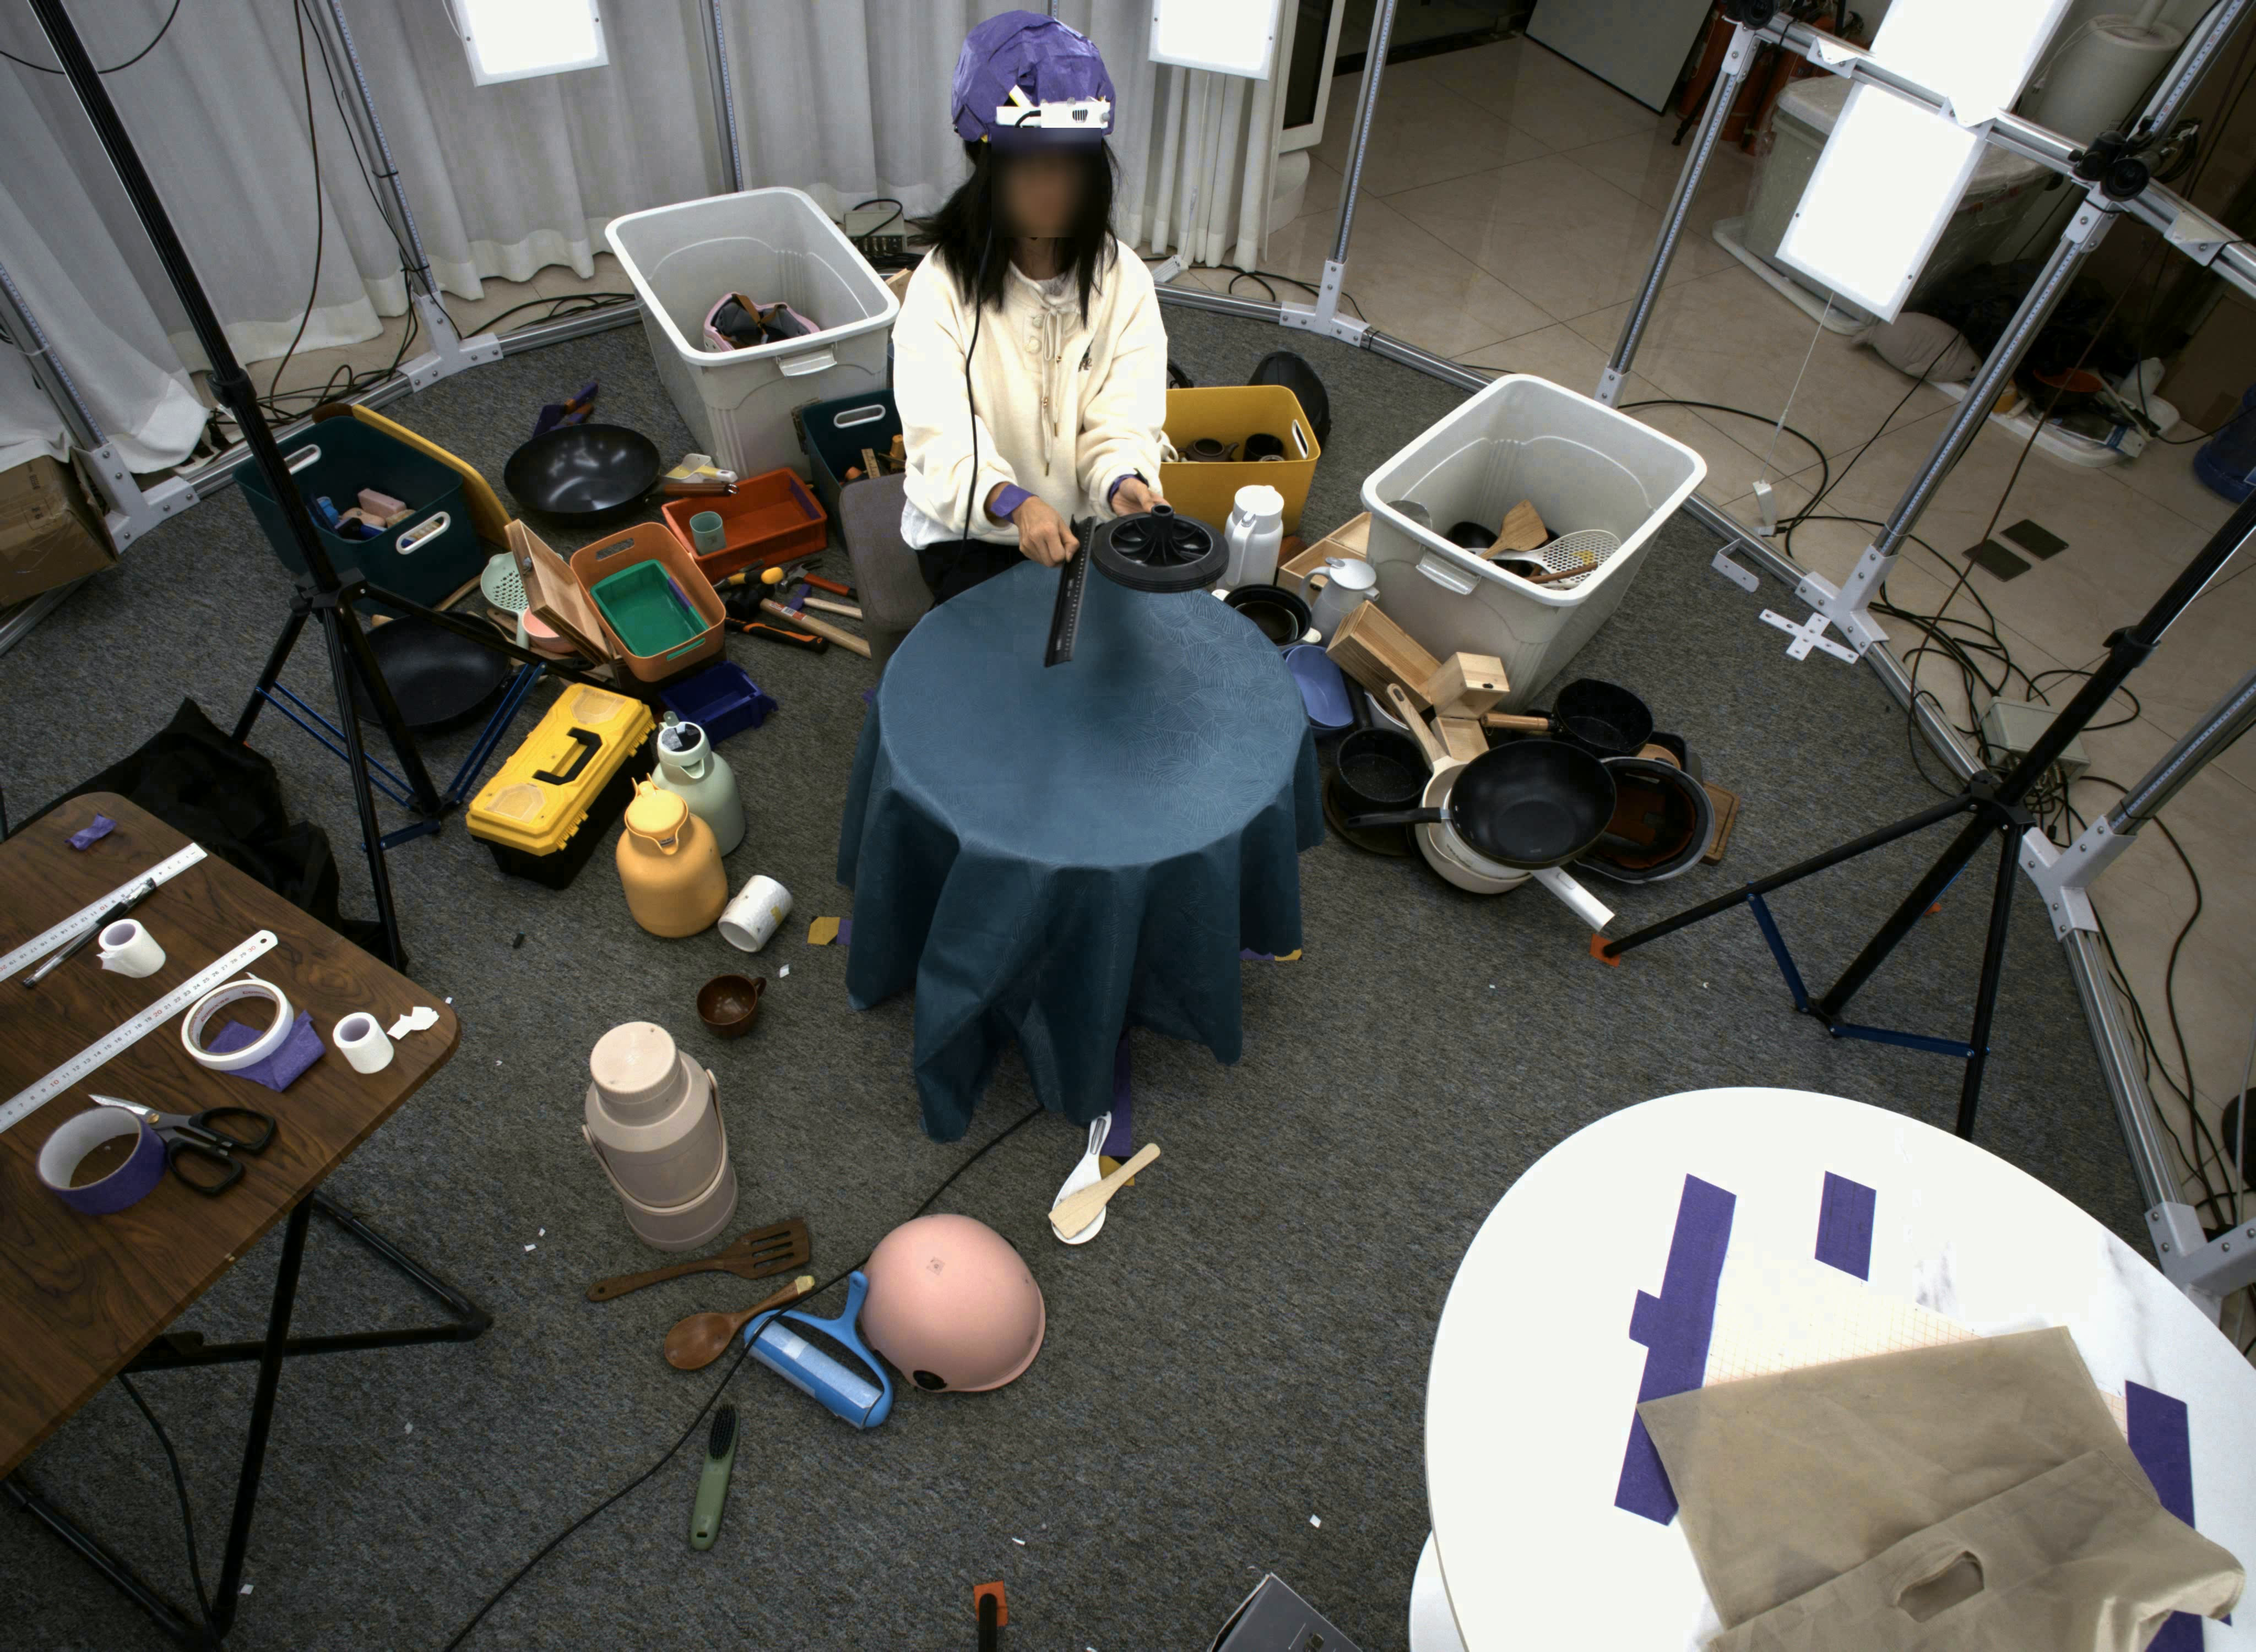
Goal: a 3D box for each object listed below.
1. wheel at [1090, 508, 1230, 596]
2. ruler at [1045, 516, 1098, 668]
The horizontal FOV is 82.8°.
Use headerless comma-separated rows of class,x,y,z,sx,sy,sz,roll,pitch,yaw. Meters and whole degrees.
wheel,0.045,-0.387,1.739,0.189,0.077,0.192,1,41,-2
ruler,-0.075,-0.319,1.700,0.039,0.017,0.320,-11,44,18
